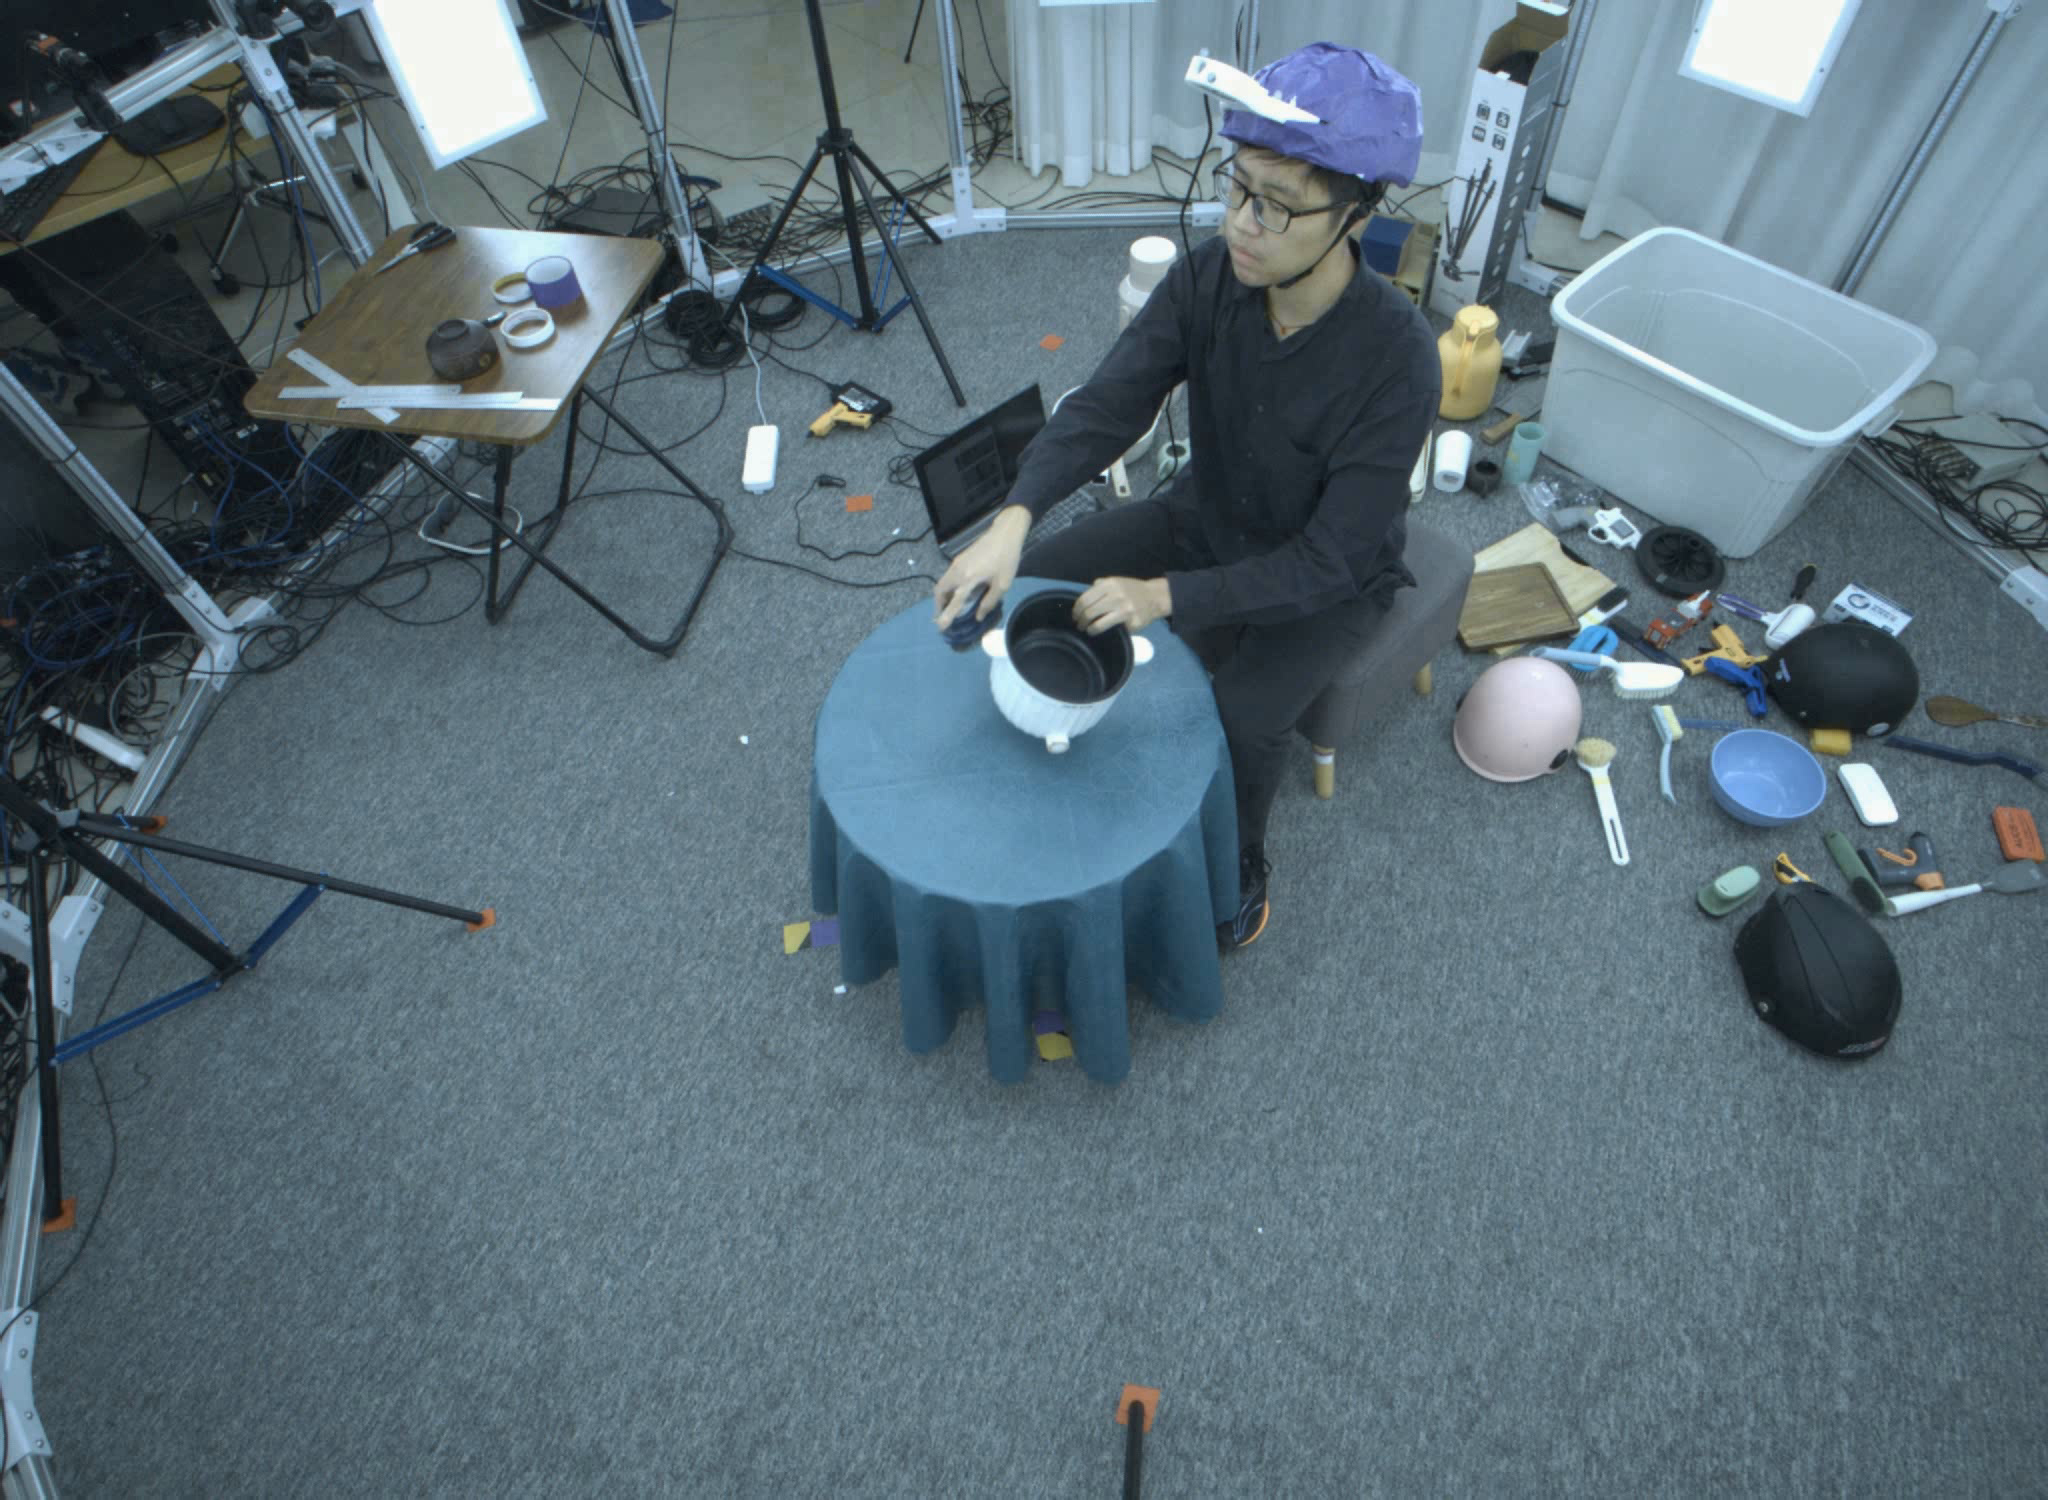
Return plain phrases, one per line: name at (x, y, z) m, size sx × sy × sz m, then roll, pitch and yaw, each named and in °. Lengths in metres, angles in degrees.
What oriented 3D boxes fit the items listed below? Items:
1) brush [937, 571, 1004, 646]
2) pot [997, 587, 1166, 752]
brush at (-0.073, -0.197, 1.725) m, size 0.066 × 0.062 × 0.122 m, roll 5°, pitch 45°, yaw 33°
pot at (0.065, -0.107, 1.689) m, size 0.243 × 0.142 × 0.188 m, roll 0°, pitch 61°, yaw -18°
